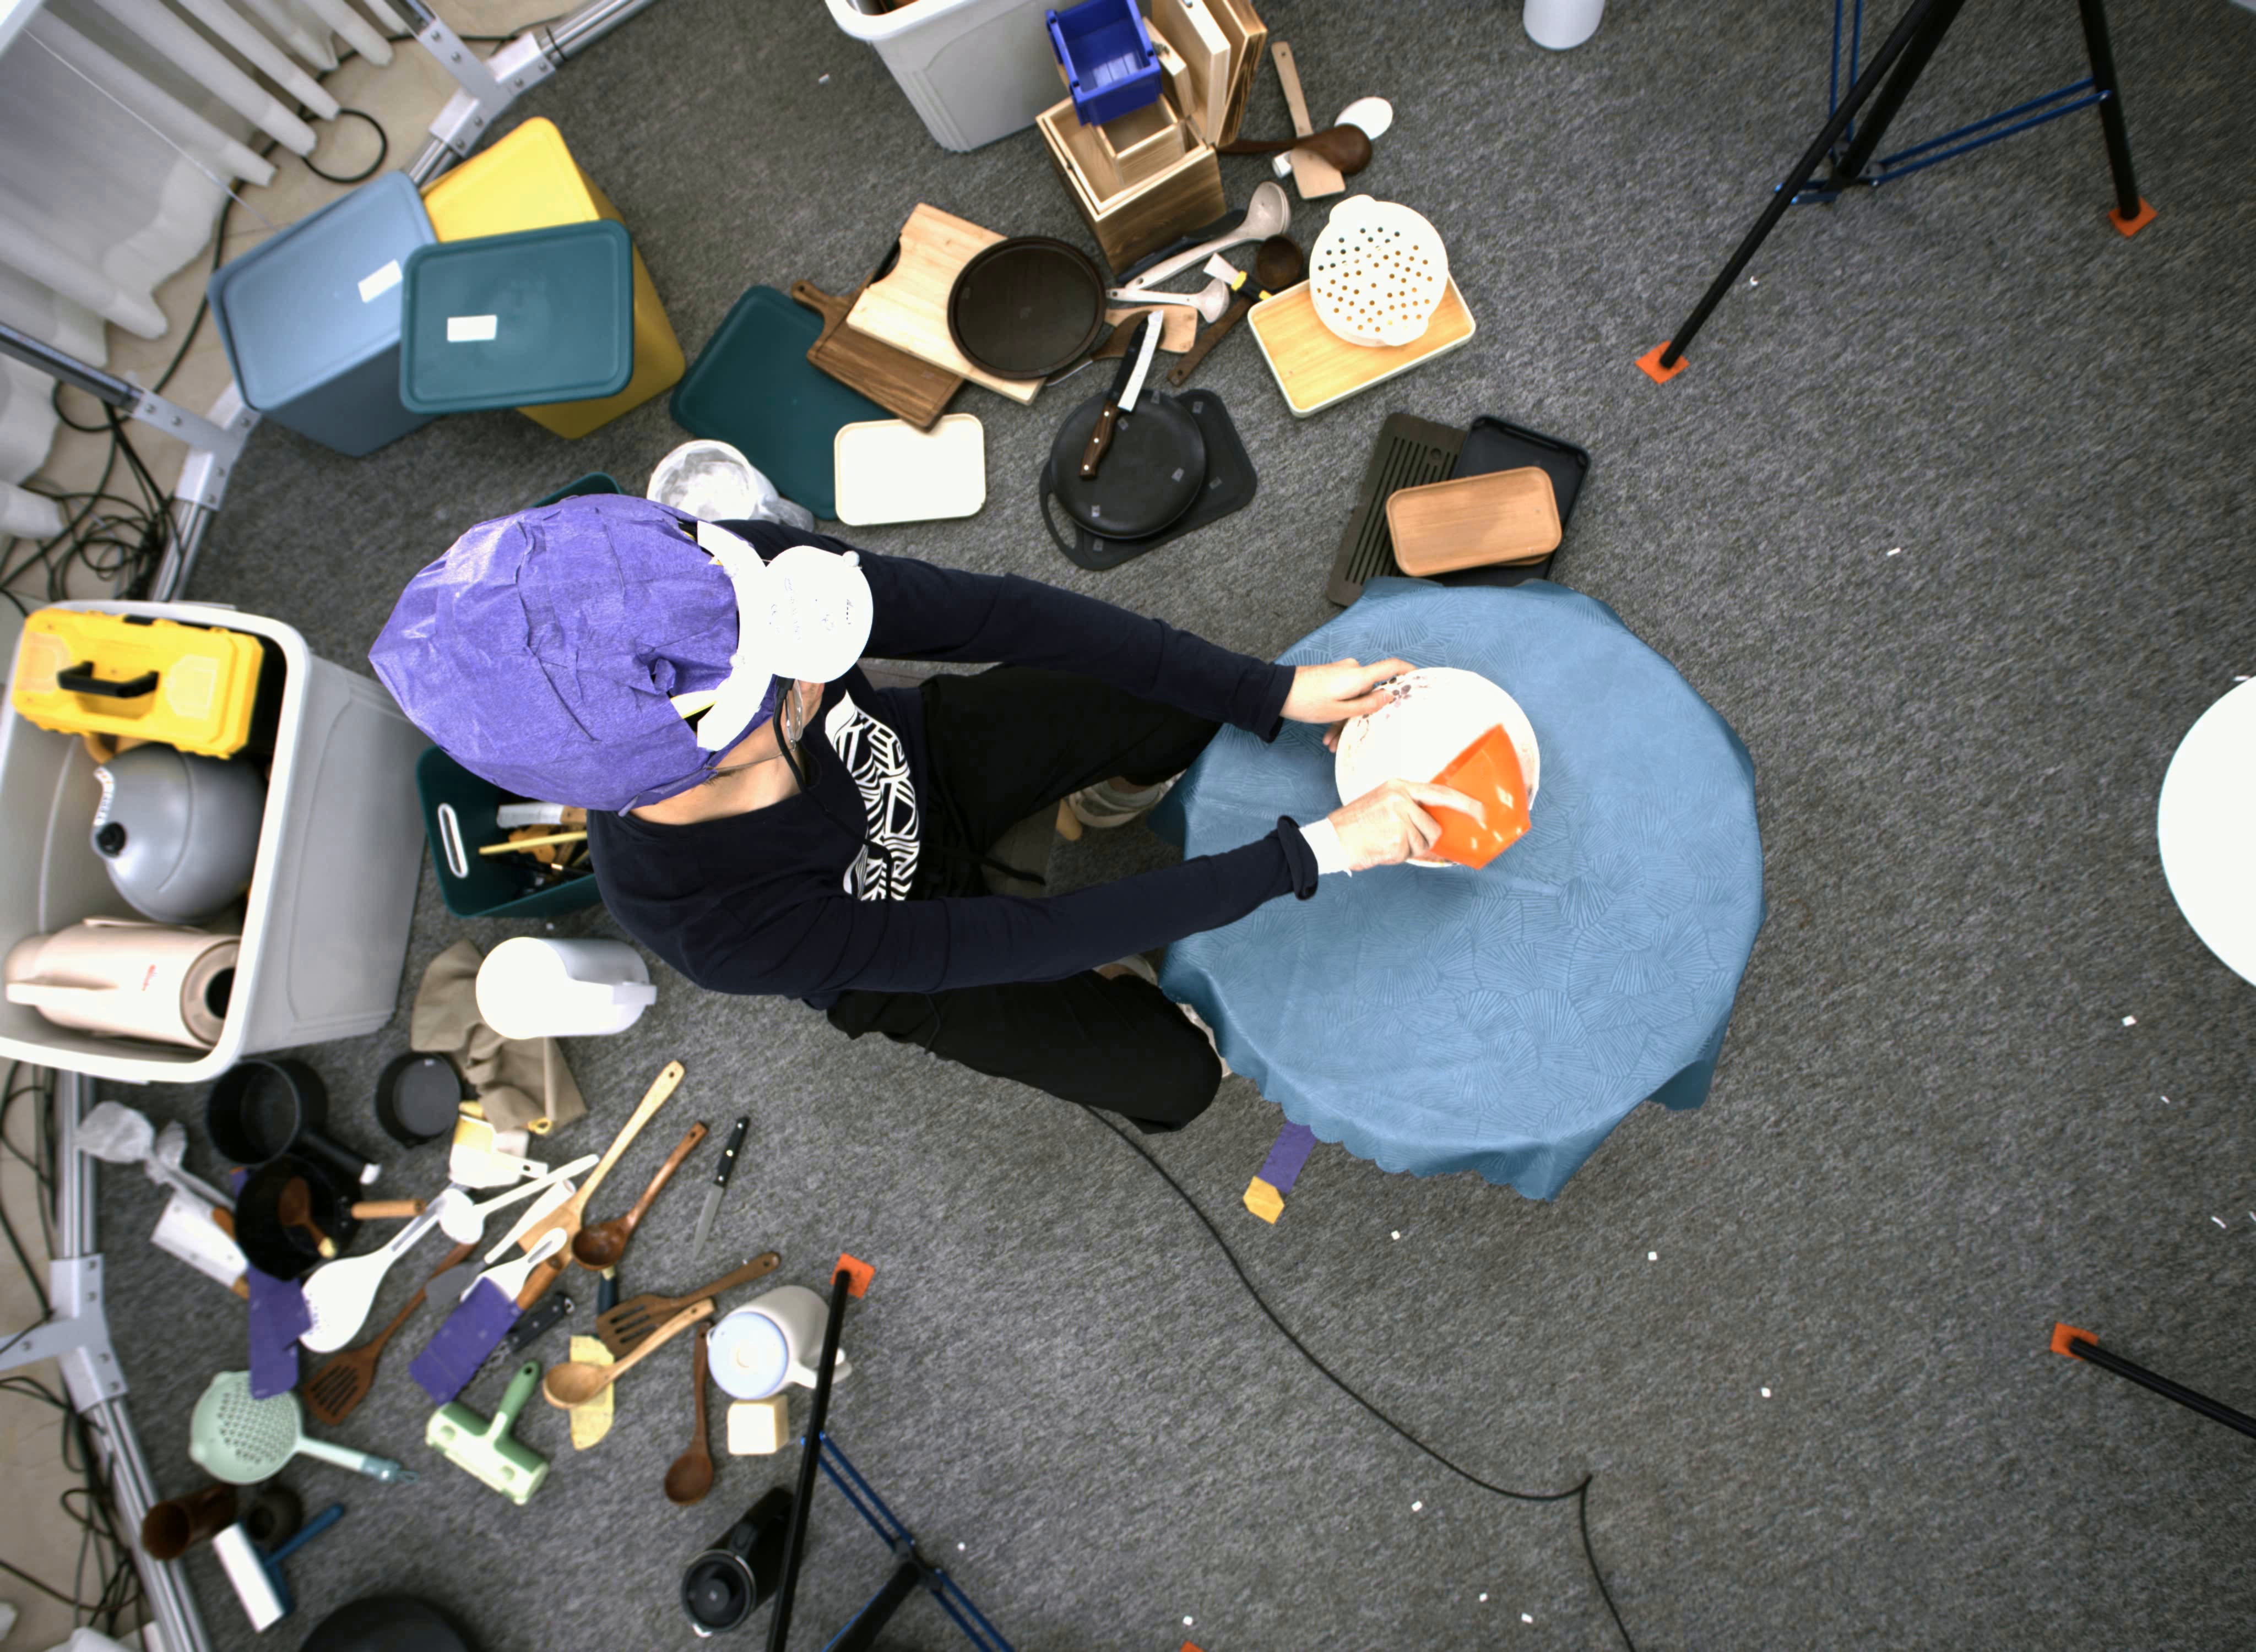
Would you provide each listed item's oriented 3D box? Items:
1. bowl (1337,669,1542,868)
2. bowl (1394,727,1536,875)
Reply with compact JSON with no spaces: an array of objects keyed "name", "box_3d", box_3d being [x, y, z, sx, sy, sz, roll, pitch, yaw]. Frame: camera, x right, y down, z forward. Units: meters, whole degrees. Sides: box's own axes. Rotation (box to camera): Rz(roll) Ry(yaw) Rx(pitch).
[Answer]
[{"name":"bowl","box_3d":[0.319,-0.056,1.419,0.205,0.078,0.203,-1,85,11]},{"name":"bowl","box_3d":[0.339,-0.017,1.330,0.148,0.148,0.104,-39,79,5]}]
